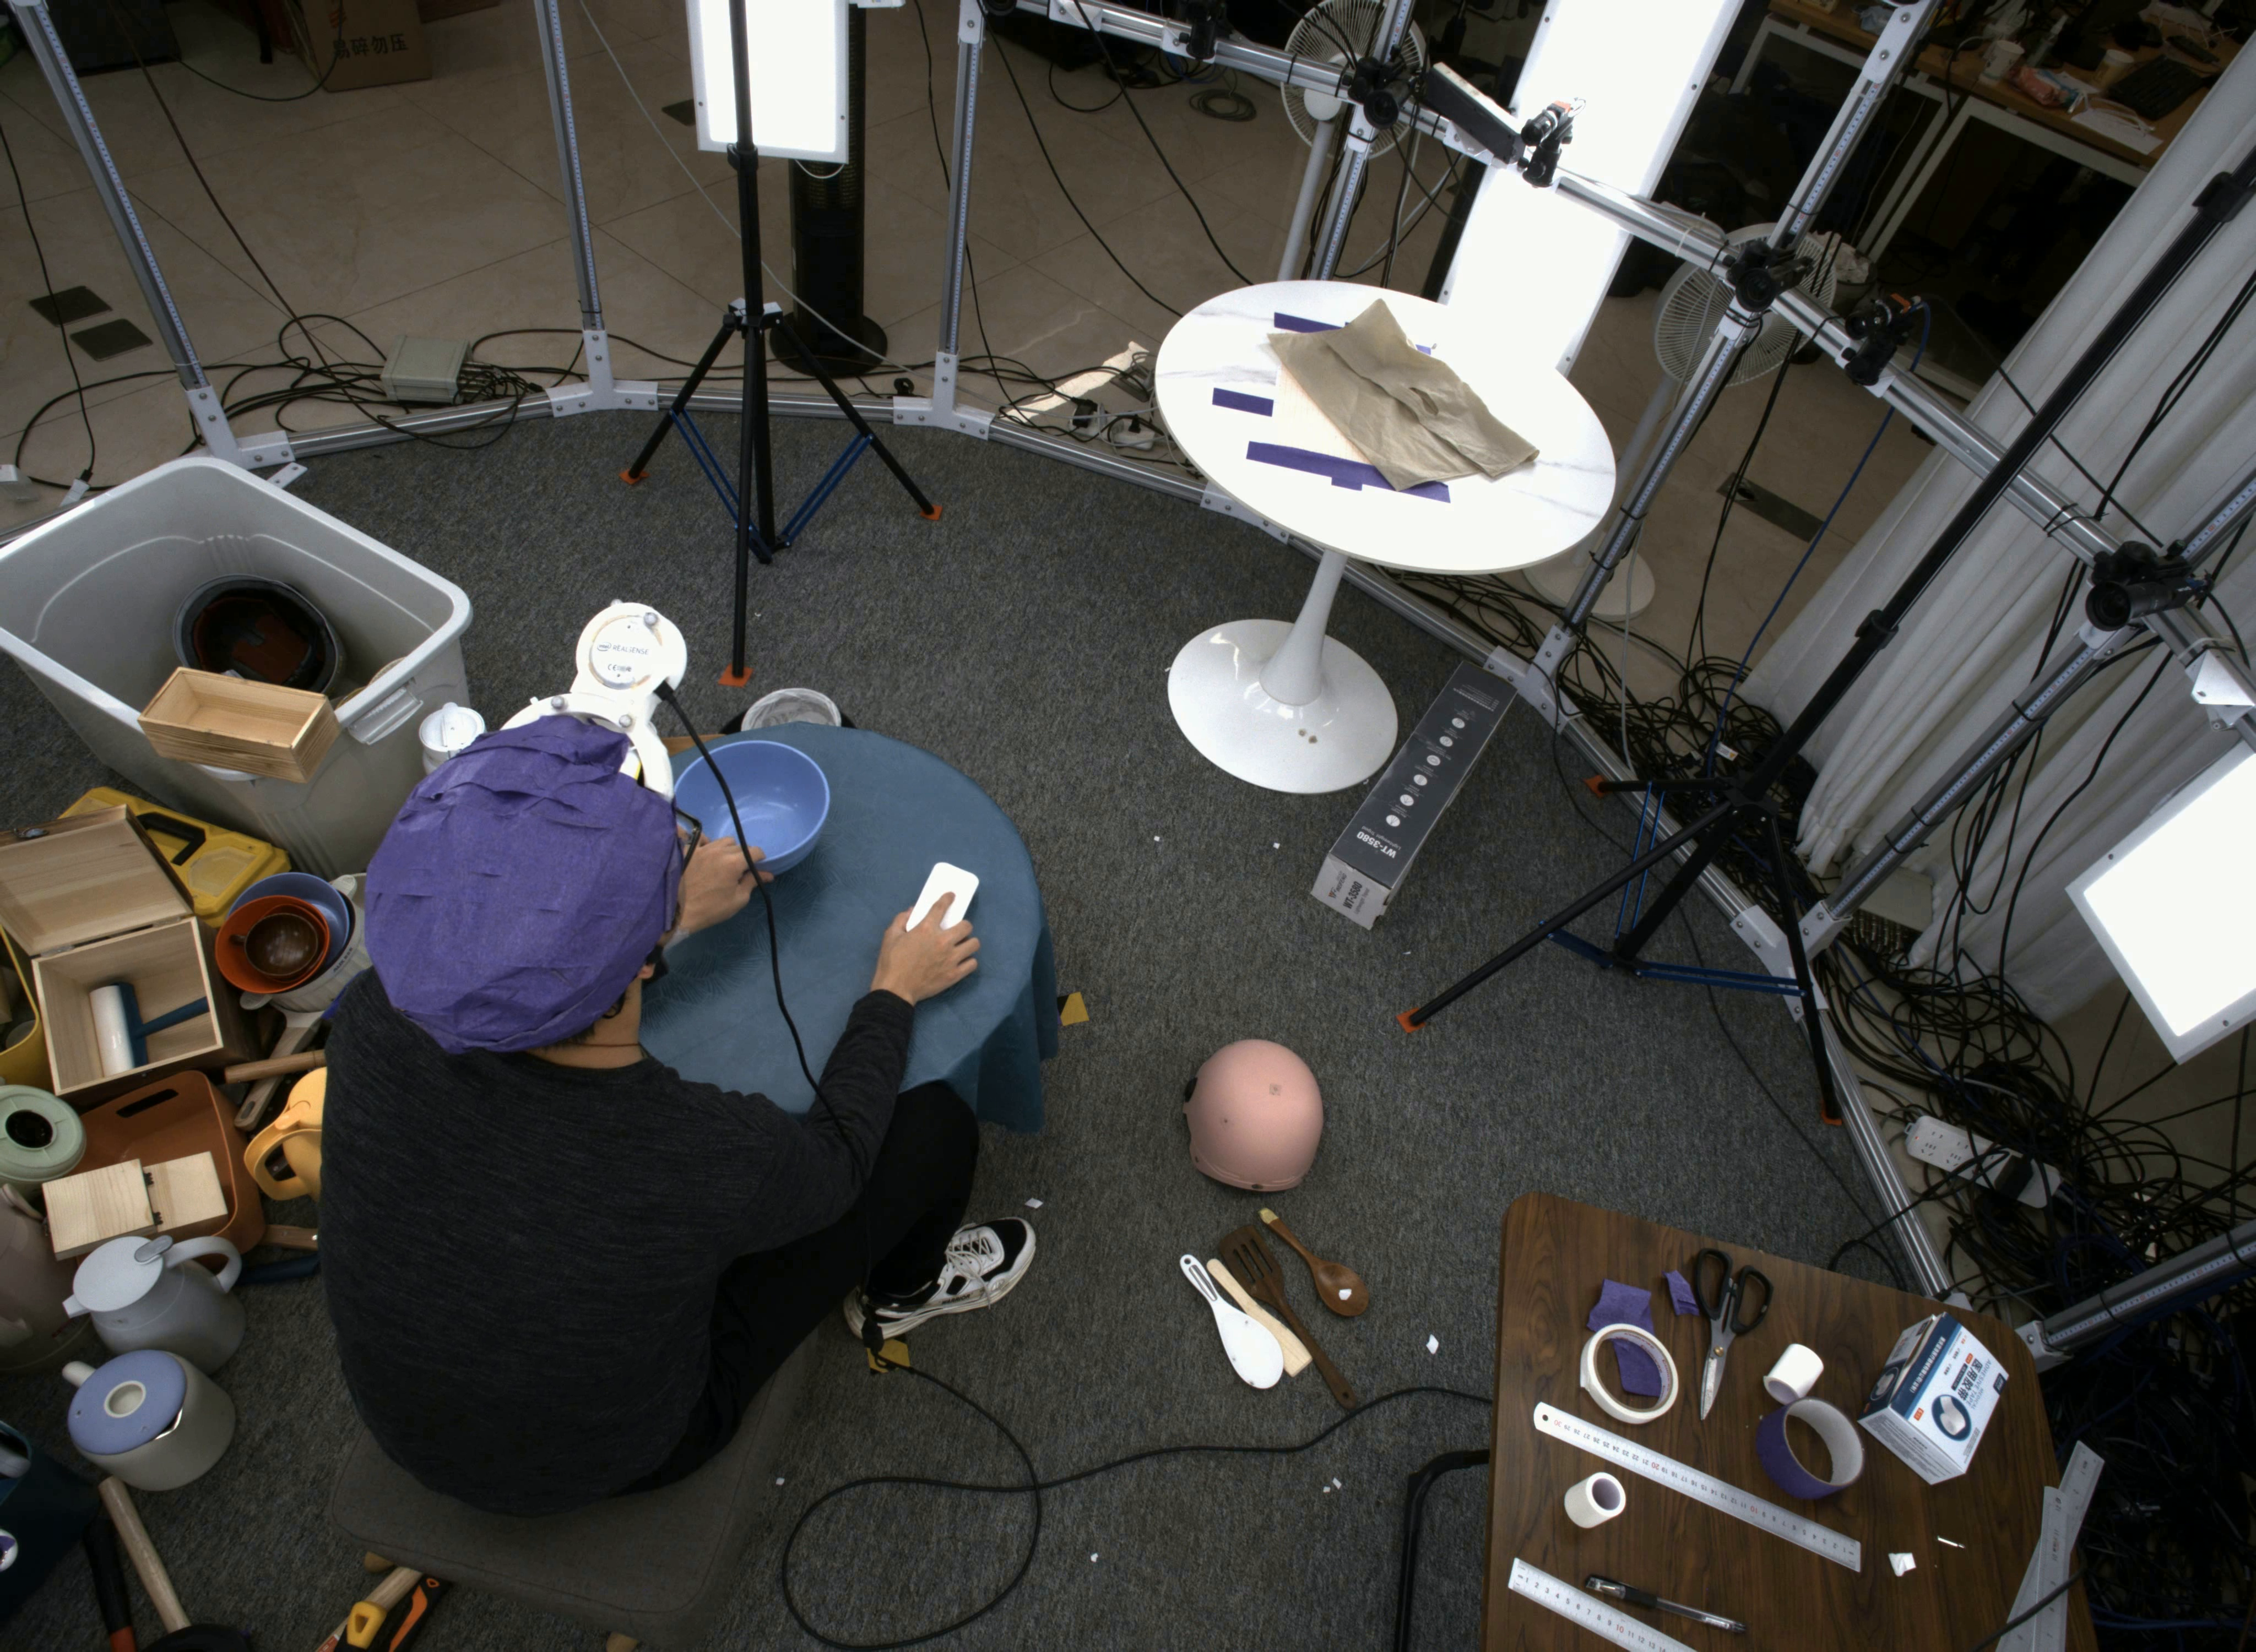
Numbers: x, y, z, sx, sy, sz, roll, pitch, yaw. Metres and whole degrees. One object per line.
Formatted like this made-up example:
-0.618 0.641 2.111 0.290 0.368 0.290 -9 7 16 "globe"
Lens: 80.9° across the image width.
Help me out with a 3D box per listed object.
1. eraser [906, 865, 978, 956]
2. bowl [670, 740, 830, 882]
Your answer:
-0.238 0.103 1.663 0.063 0.035 0.130 22 45 -2 "eraser"
-0.476 -0.005 1.646 0.196 0.097 0.193 7 52 -7 "bowl"
